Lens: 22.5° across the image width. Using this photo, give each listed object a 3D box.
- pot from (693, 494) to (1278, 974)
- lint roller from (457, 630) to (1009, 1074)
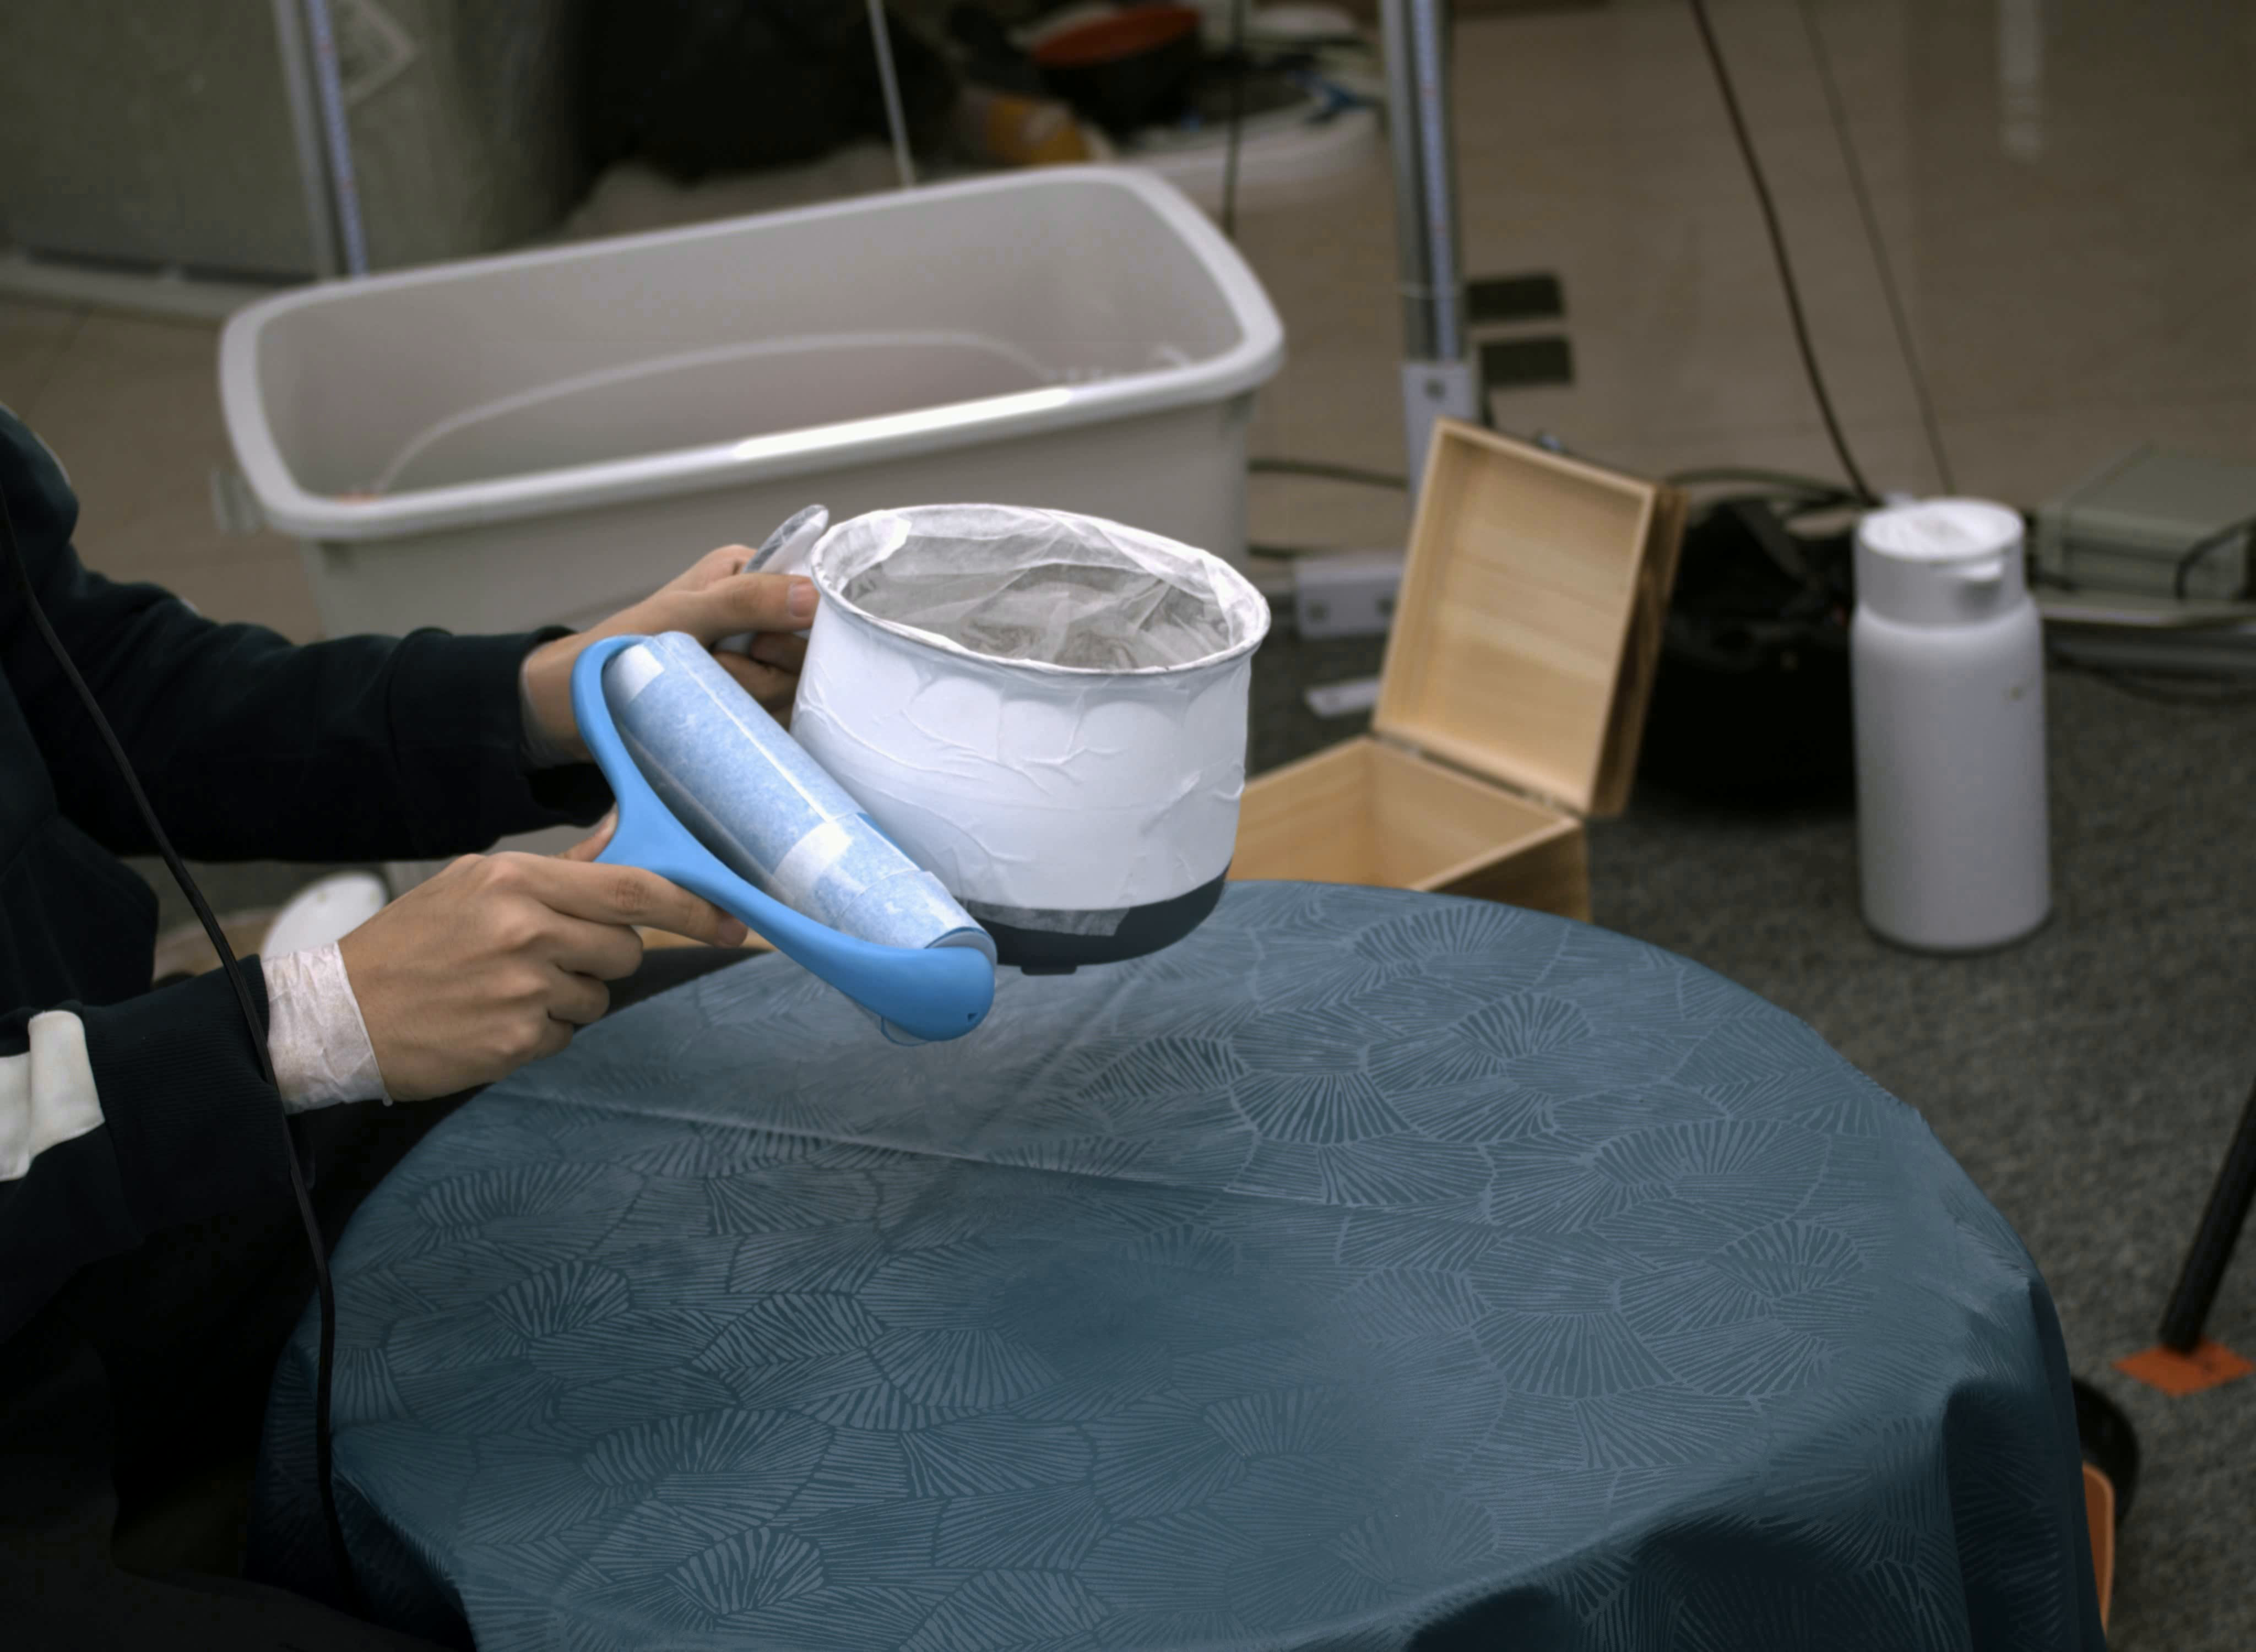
[{"bbox_3d":[-0.065,-0.043,2.175,0.232,0.138,0.177,19,25,20],"label":"pot"},{"bbox_3d":[-0.168,0.028,2.073,0.179,0.069,0.226,-32,57,-28],"label":"lint roller"}]
